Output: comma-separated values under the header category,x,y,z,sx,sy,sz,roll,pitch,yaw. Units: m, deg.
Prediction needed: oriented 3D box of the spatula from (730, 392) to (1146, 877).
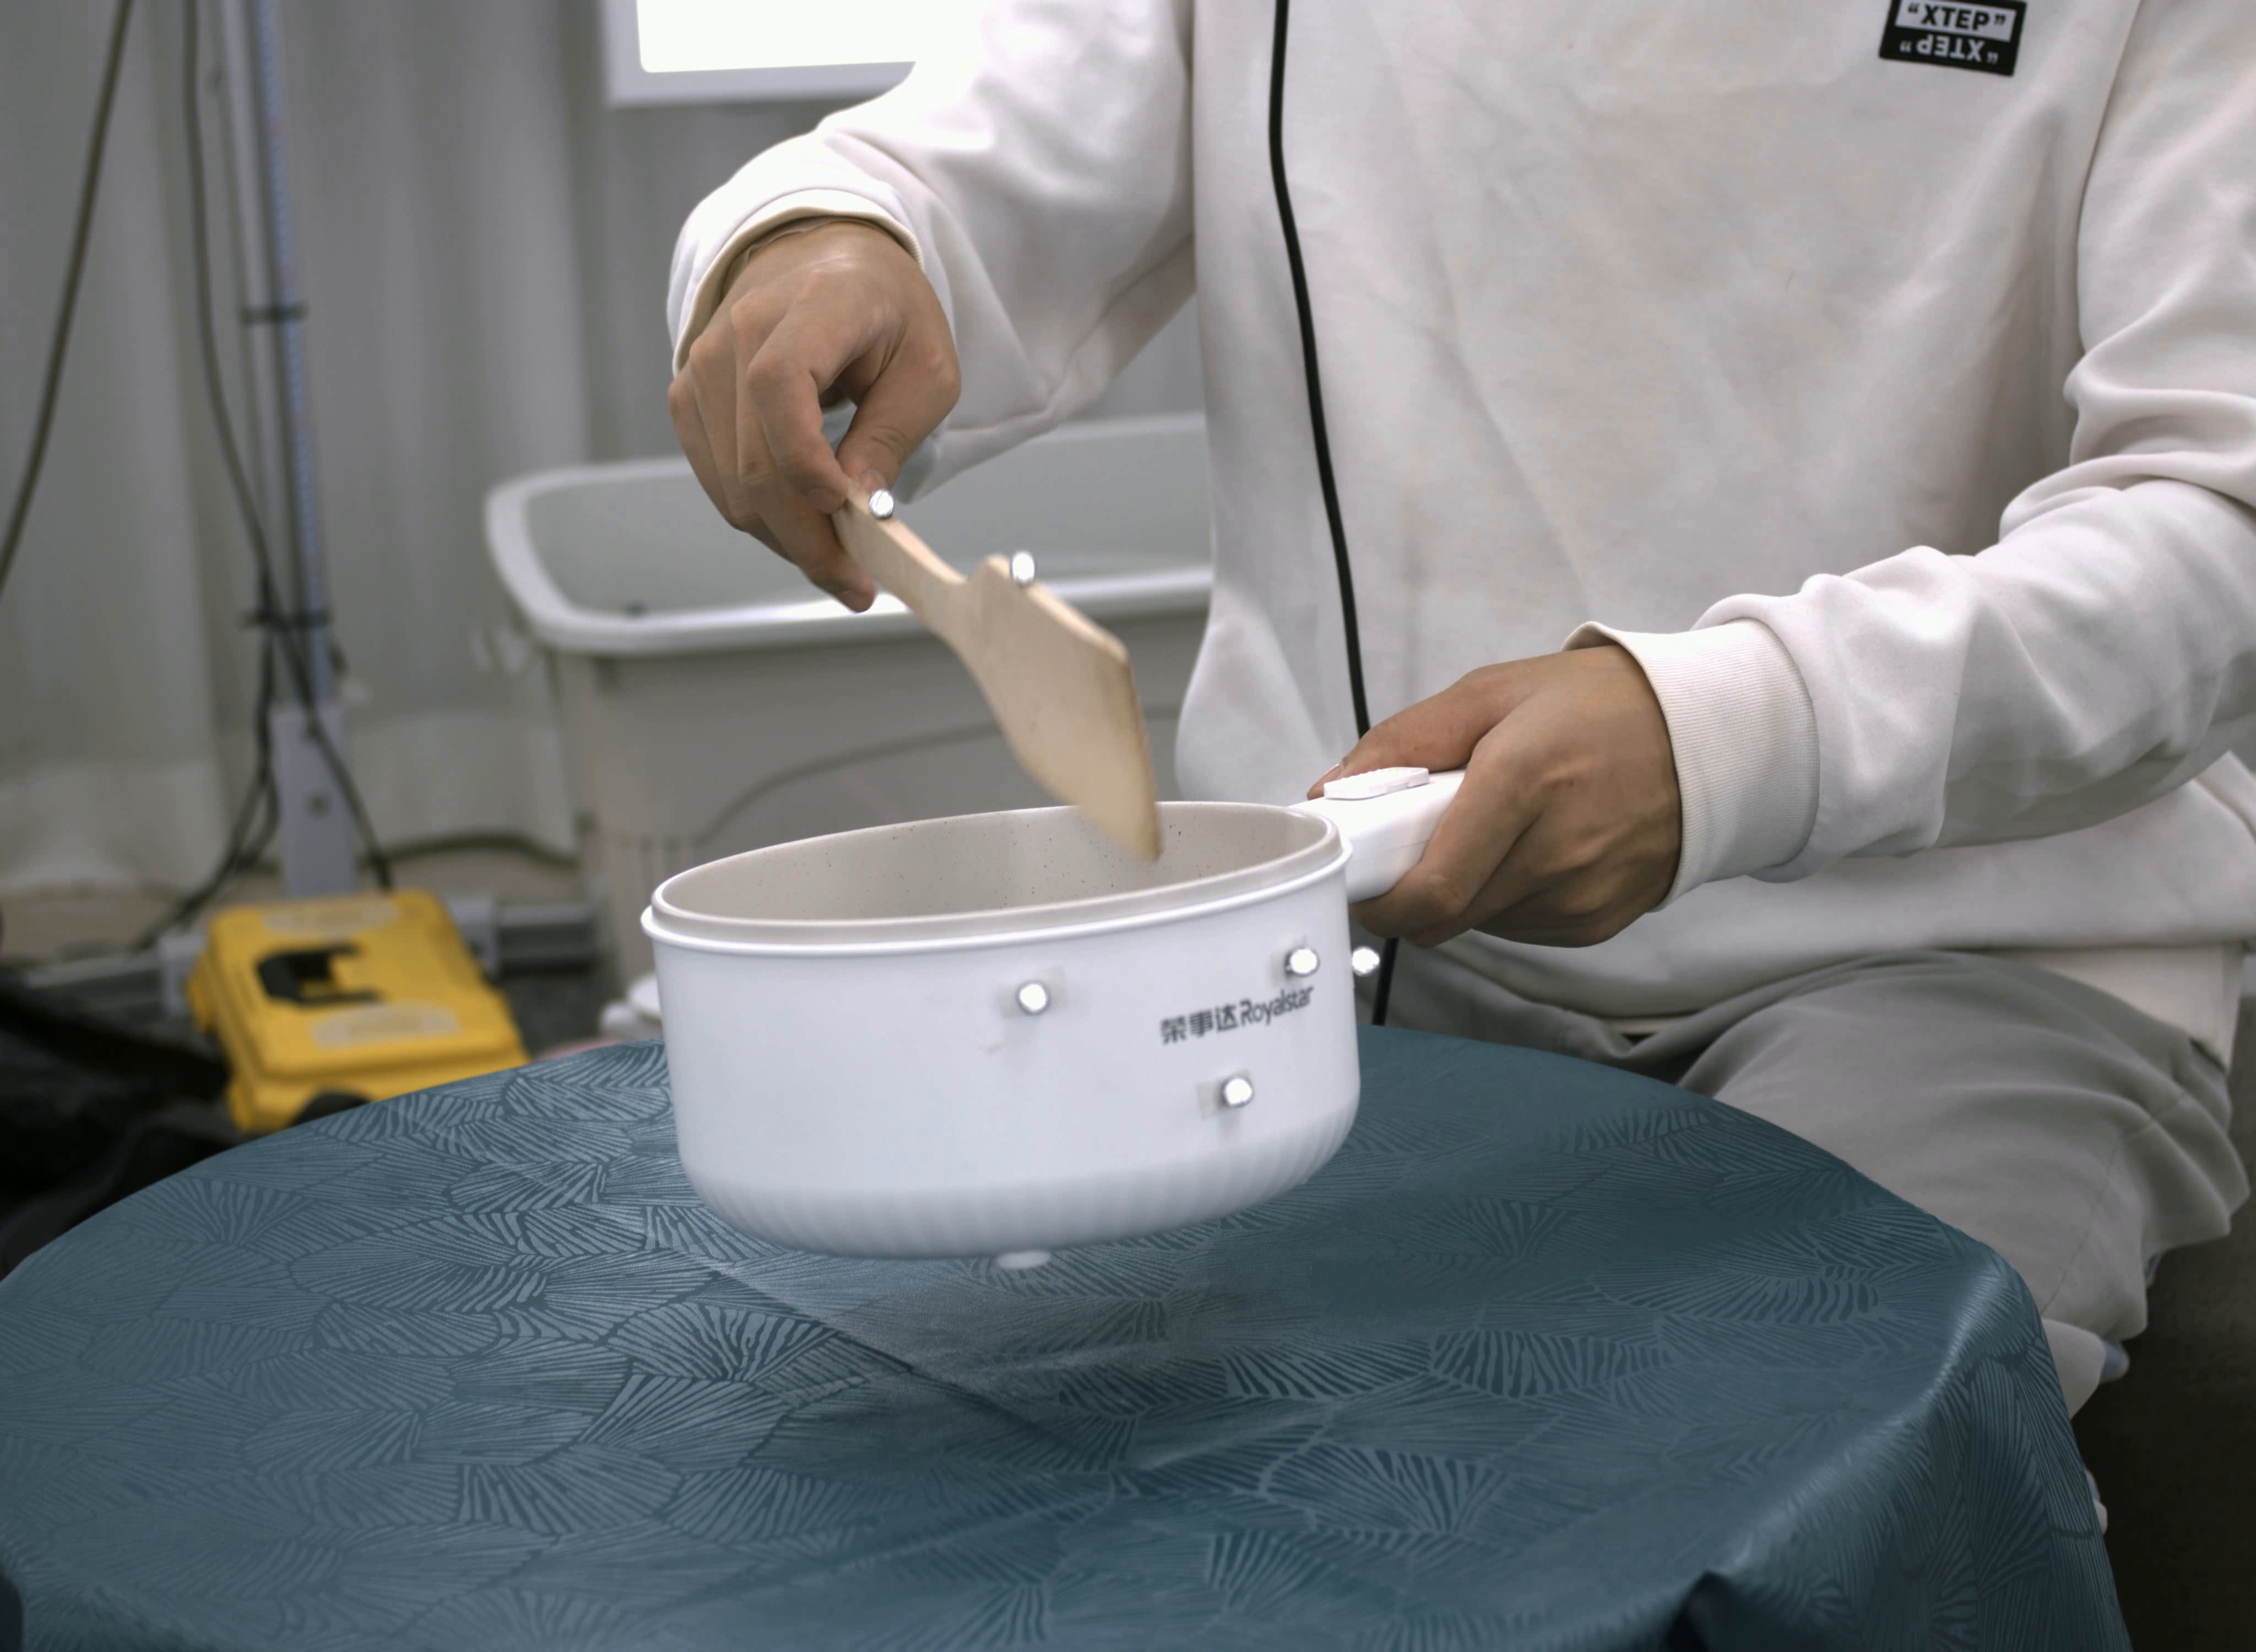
category,x,y,z,sx,sy,sz,roll,pitch,yaw
spatula,-0.064,-0.073,1.663,0.010,0.071,0.296,-20,32,-18

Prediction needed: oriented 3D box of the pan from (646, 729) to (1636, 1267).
category,x,y,z,sx,sy,sz,roll,pitch,yaw
pan,0.022,0.045,1.600,0.202,0.102,0.354,2,11,45
